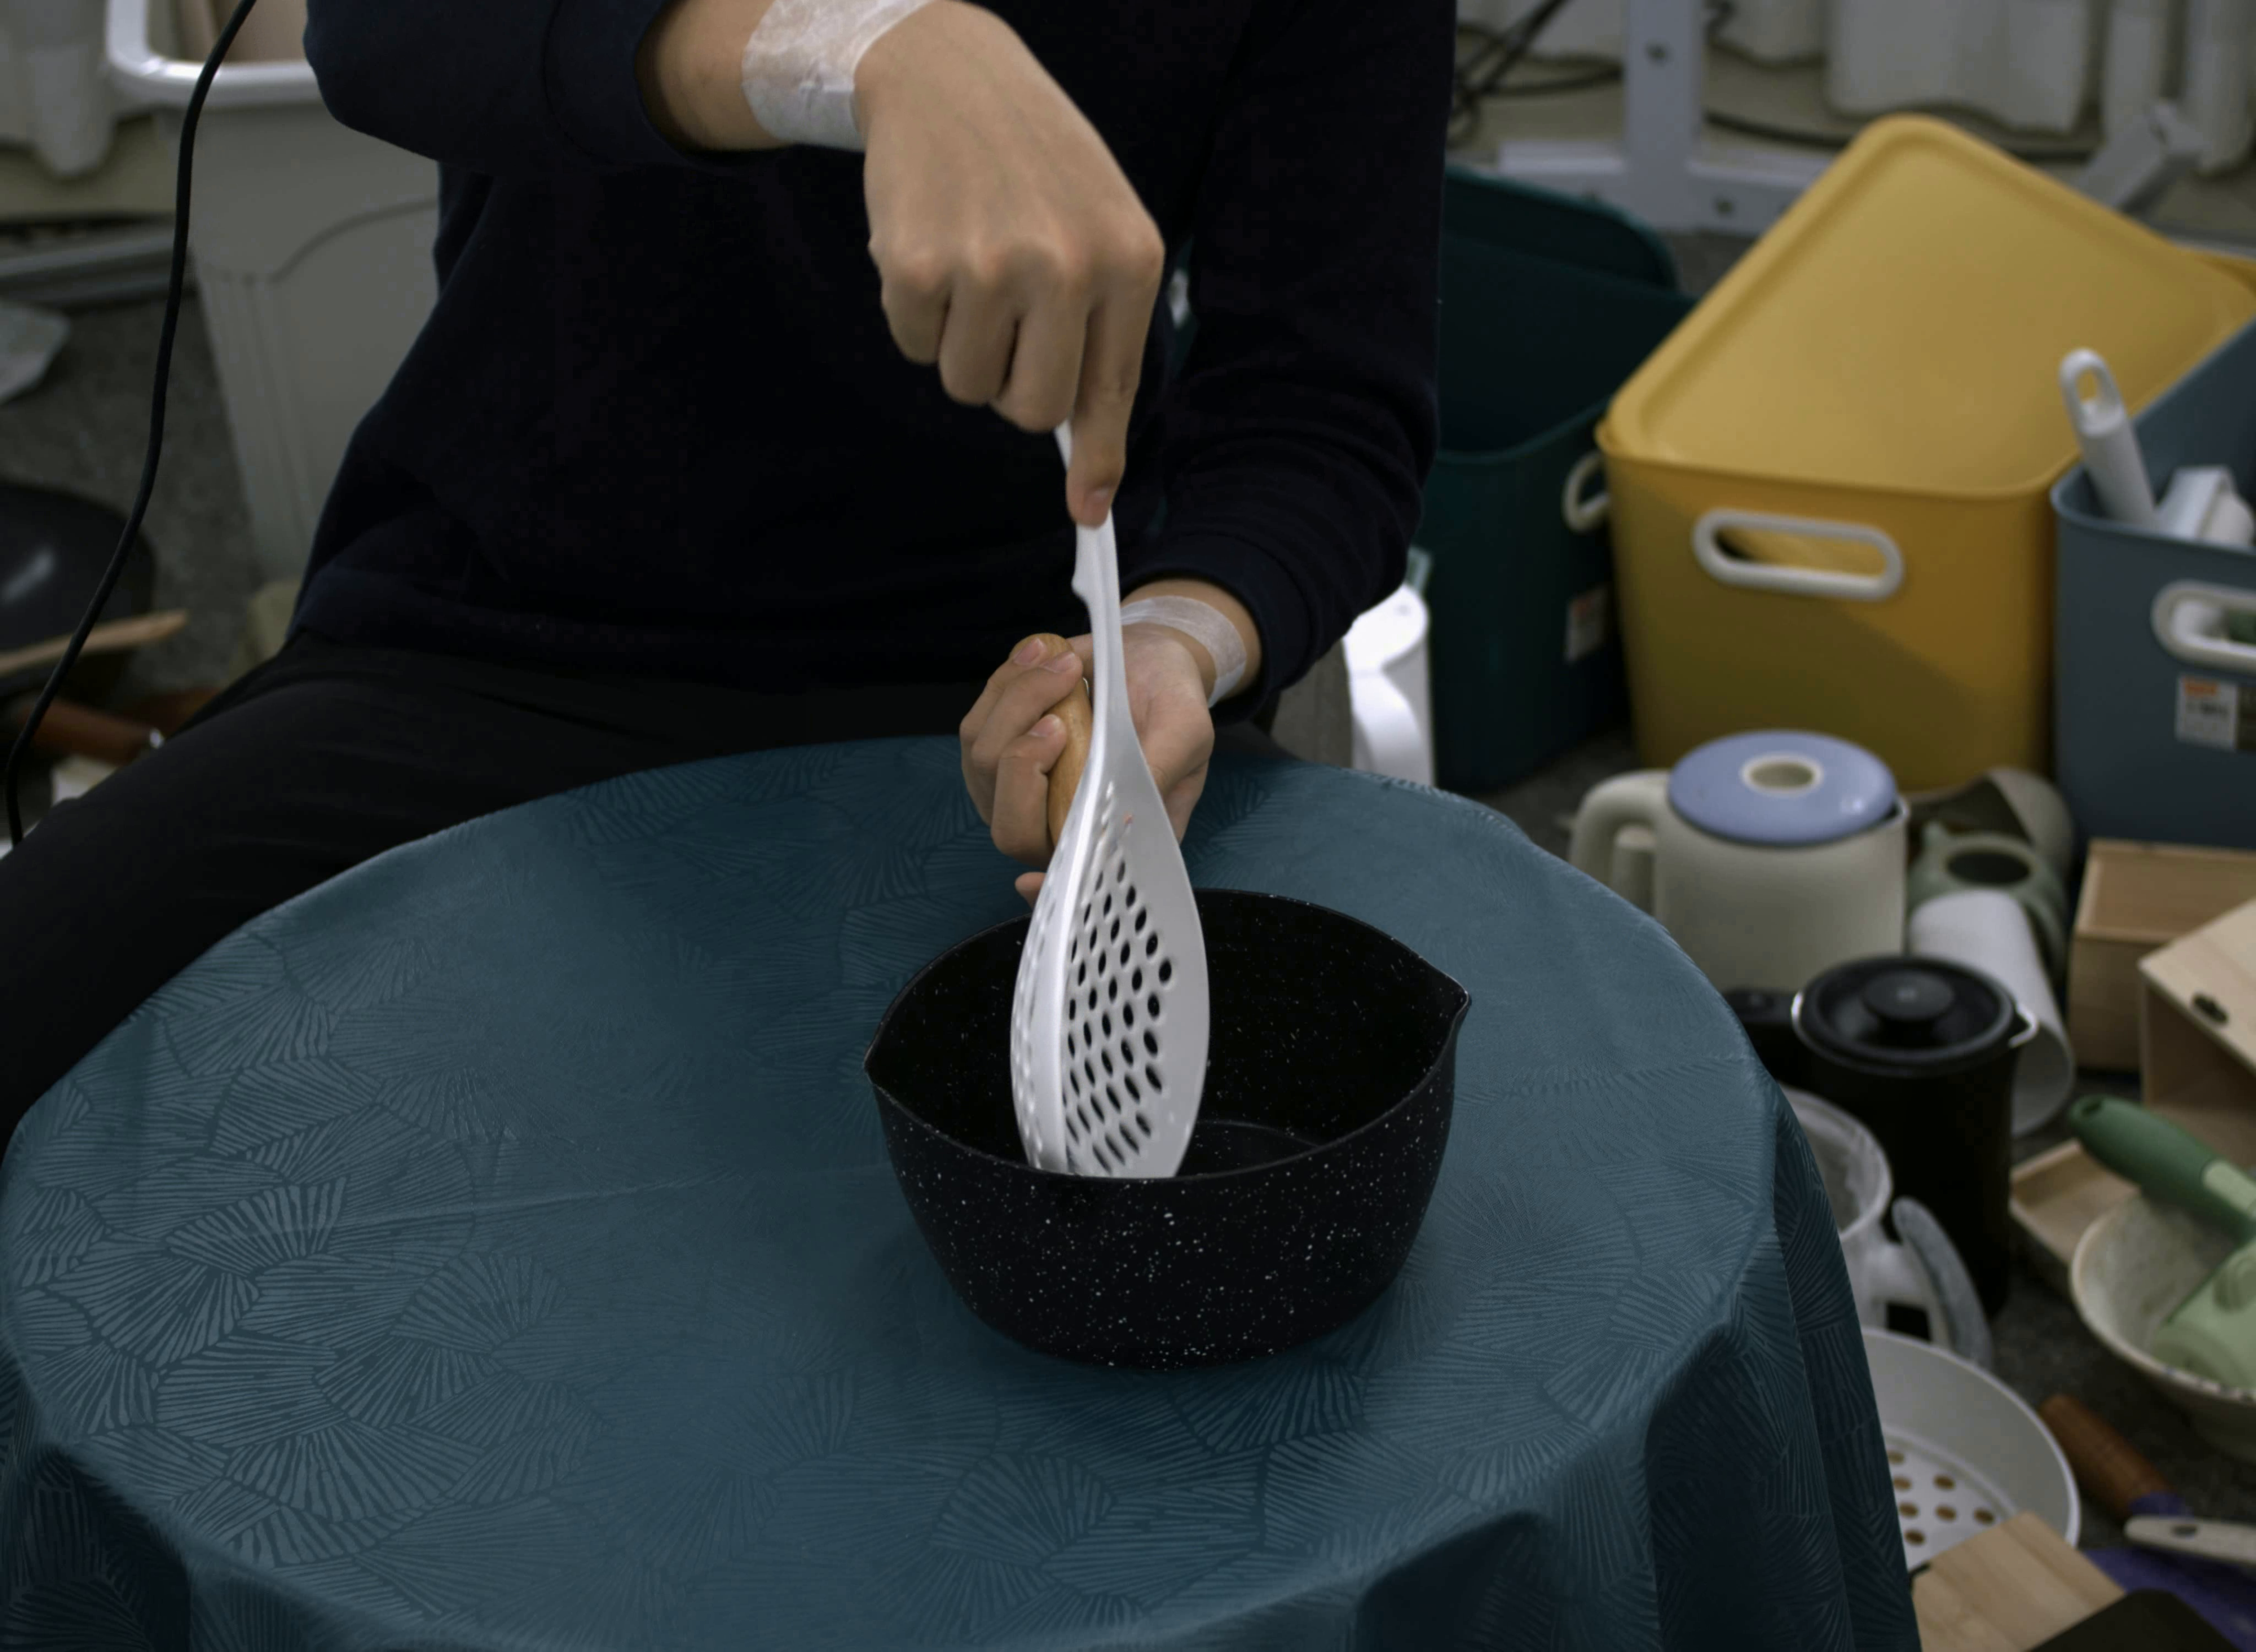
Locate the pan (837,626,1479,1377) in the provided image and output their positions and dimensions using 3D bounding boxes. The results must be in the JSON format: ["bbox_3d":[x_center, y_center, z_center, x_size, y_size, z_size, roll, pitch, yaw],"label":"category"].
[{"bbox_3d":[-0.002,0.055,1.876,0.207,0.107,0.347,-8,29,-8],"label":"pan"}]

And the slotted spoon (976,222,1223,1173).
[{"bbox_3d":[-0.016,-0.023,1.745,0.050,0.344,0.139,8,28,18],"label":"slotted spoon"}]
